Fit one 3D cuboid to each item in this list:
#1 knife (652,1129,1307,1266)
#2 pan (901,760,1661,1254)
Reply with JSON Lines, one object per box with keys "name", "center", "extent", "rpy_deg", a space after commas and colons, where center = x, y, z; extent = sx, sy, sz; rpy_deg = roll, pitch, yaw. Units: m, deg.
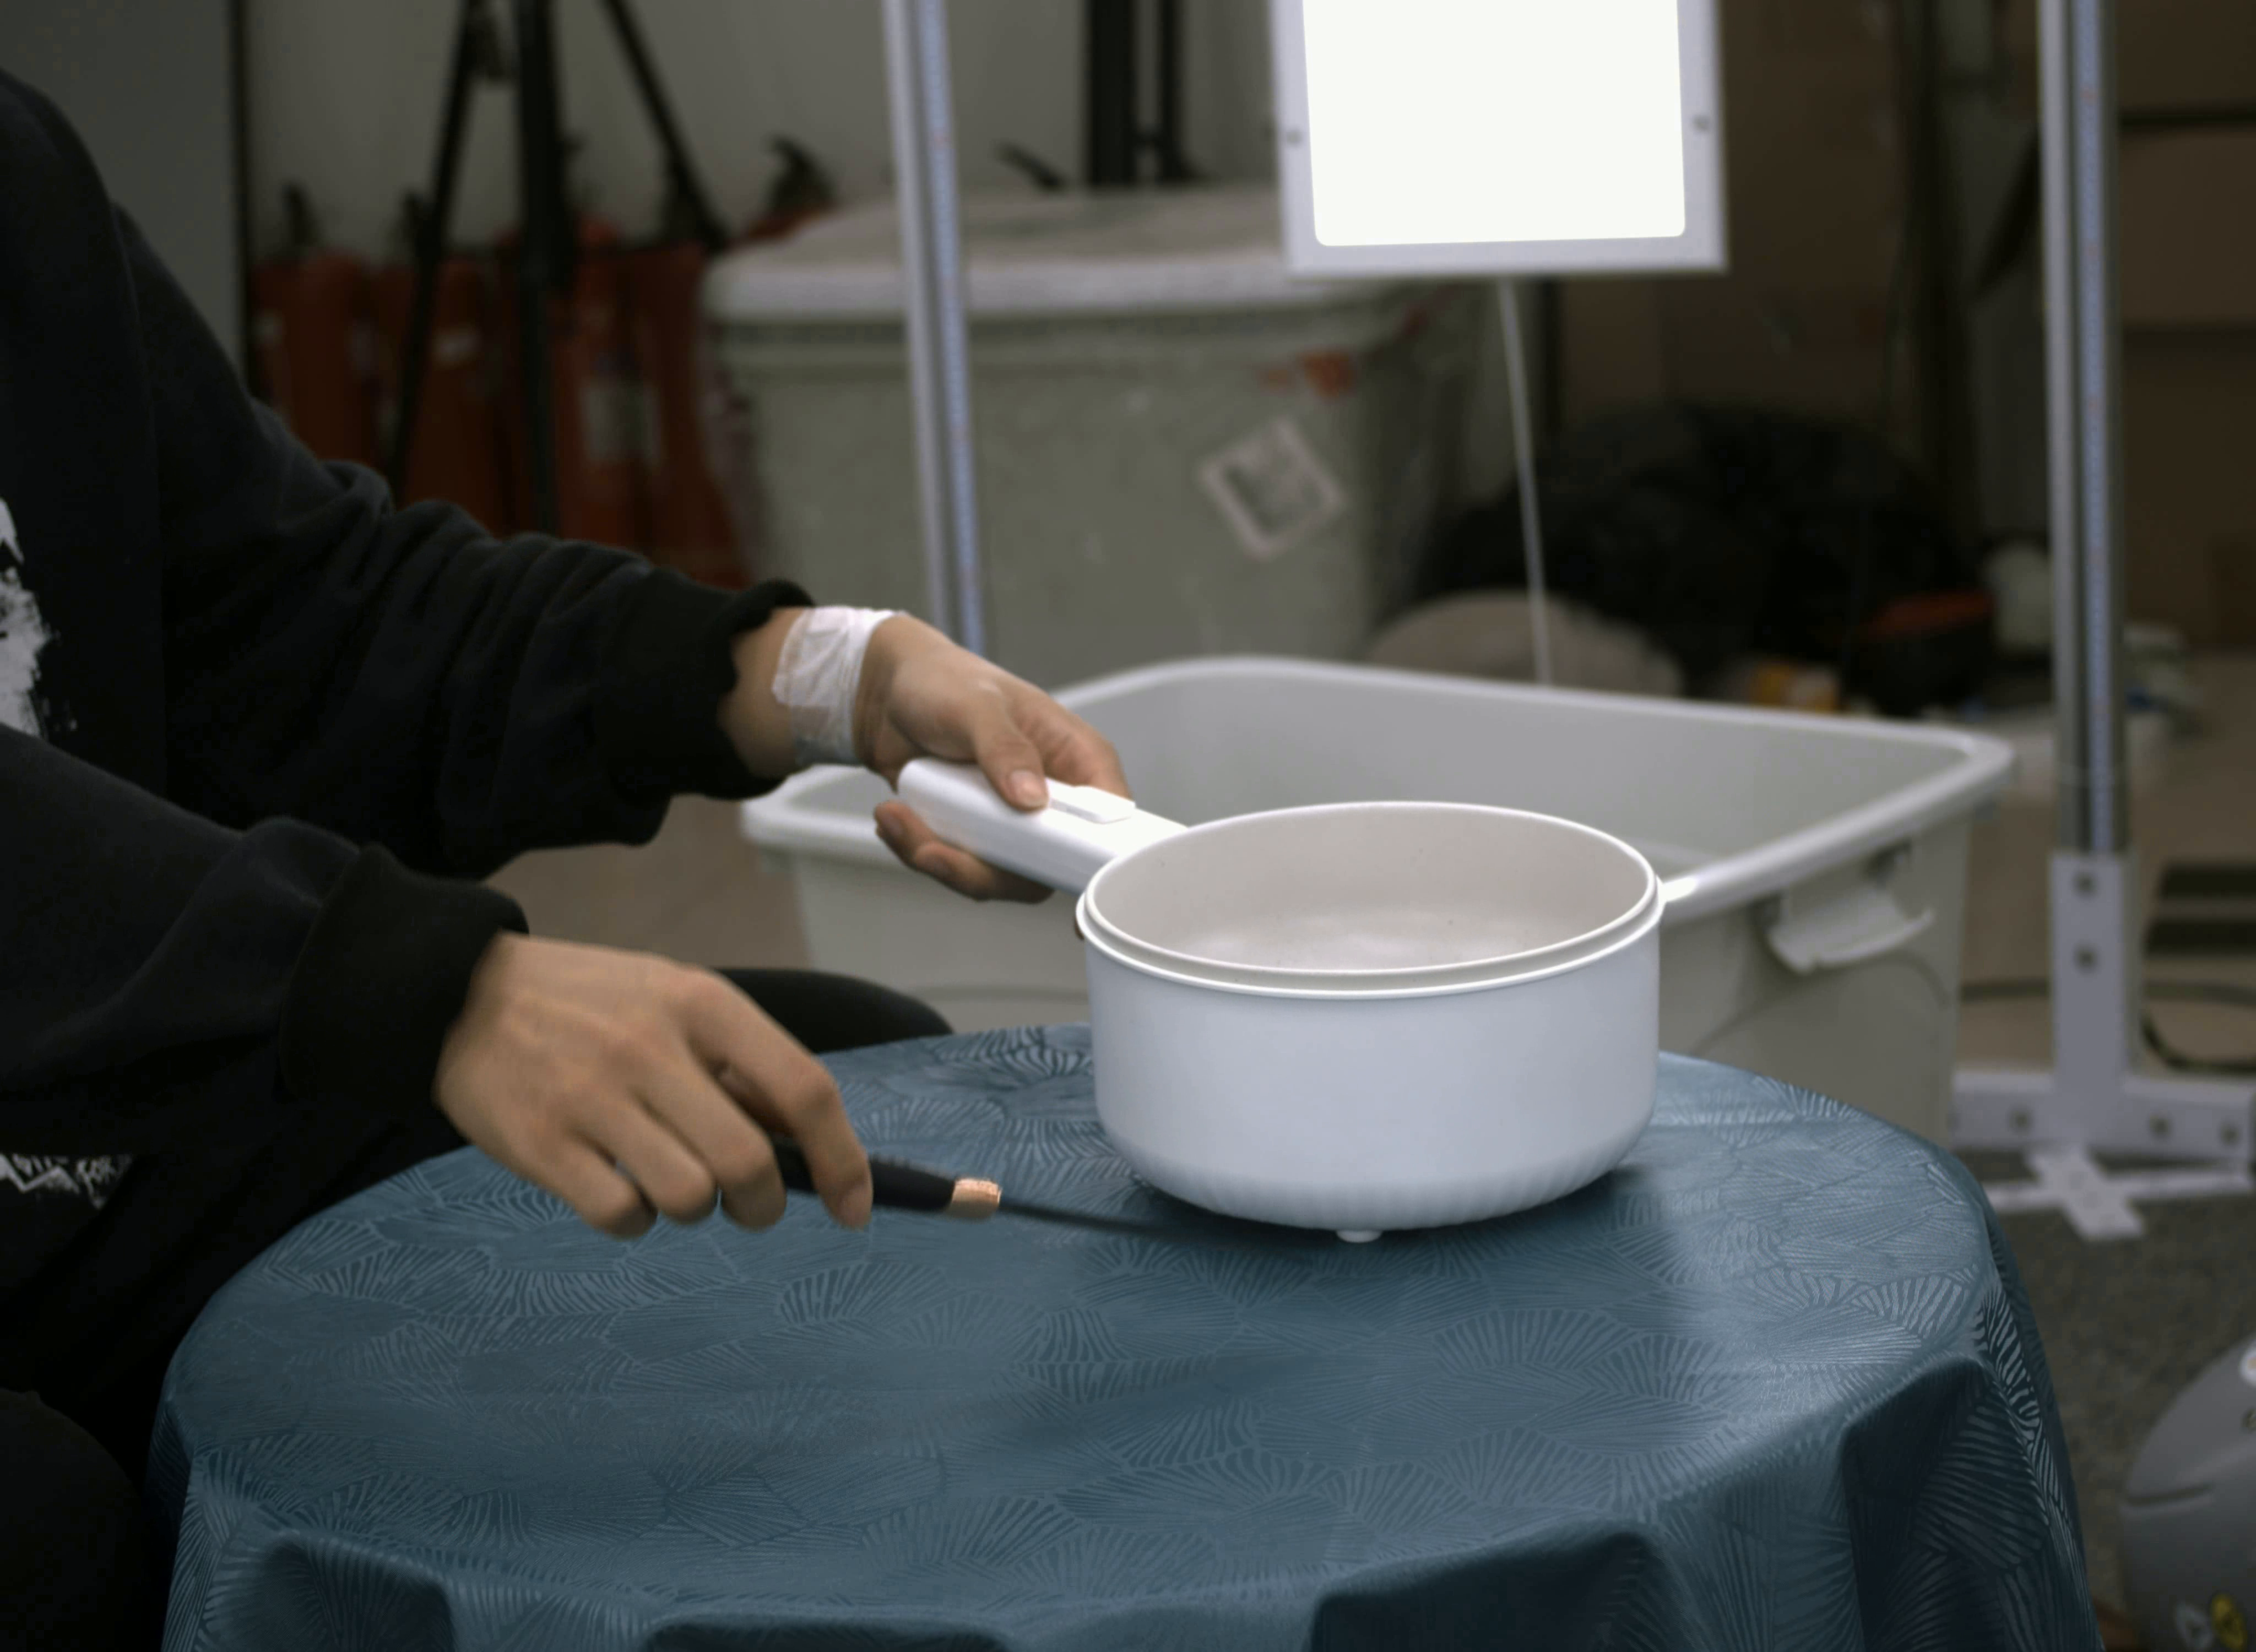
{"name": "knife", "center": [-0.043, 0.116, 1.693], "extent": [0.221, 0.017, 0.026], "rpy_deg": [11, -24, -21]}
{"name": "pan", "center": [0.037, 0.056, 1.945], "extent": [0.196, 0.102, 0.362], "rpy_deg": [-17, 21, -33]}
